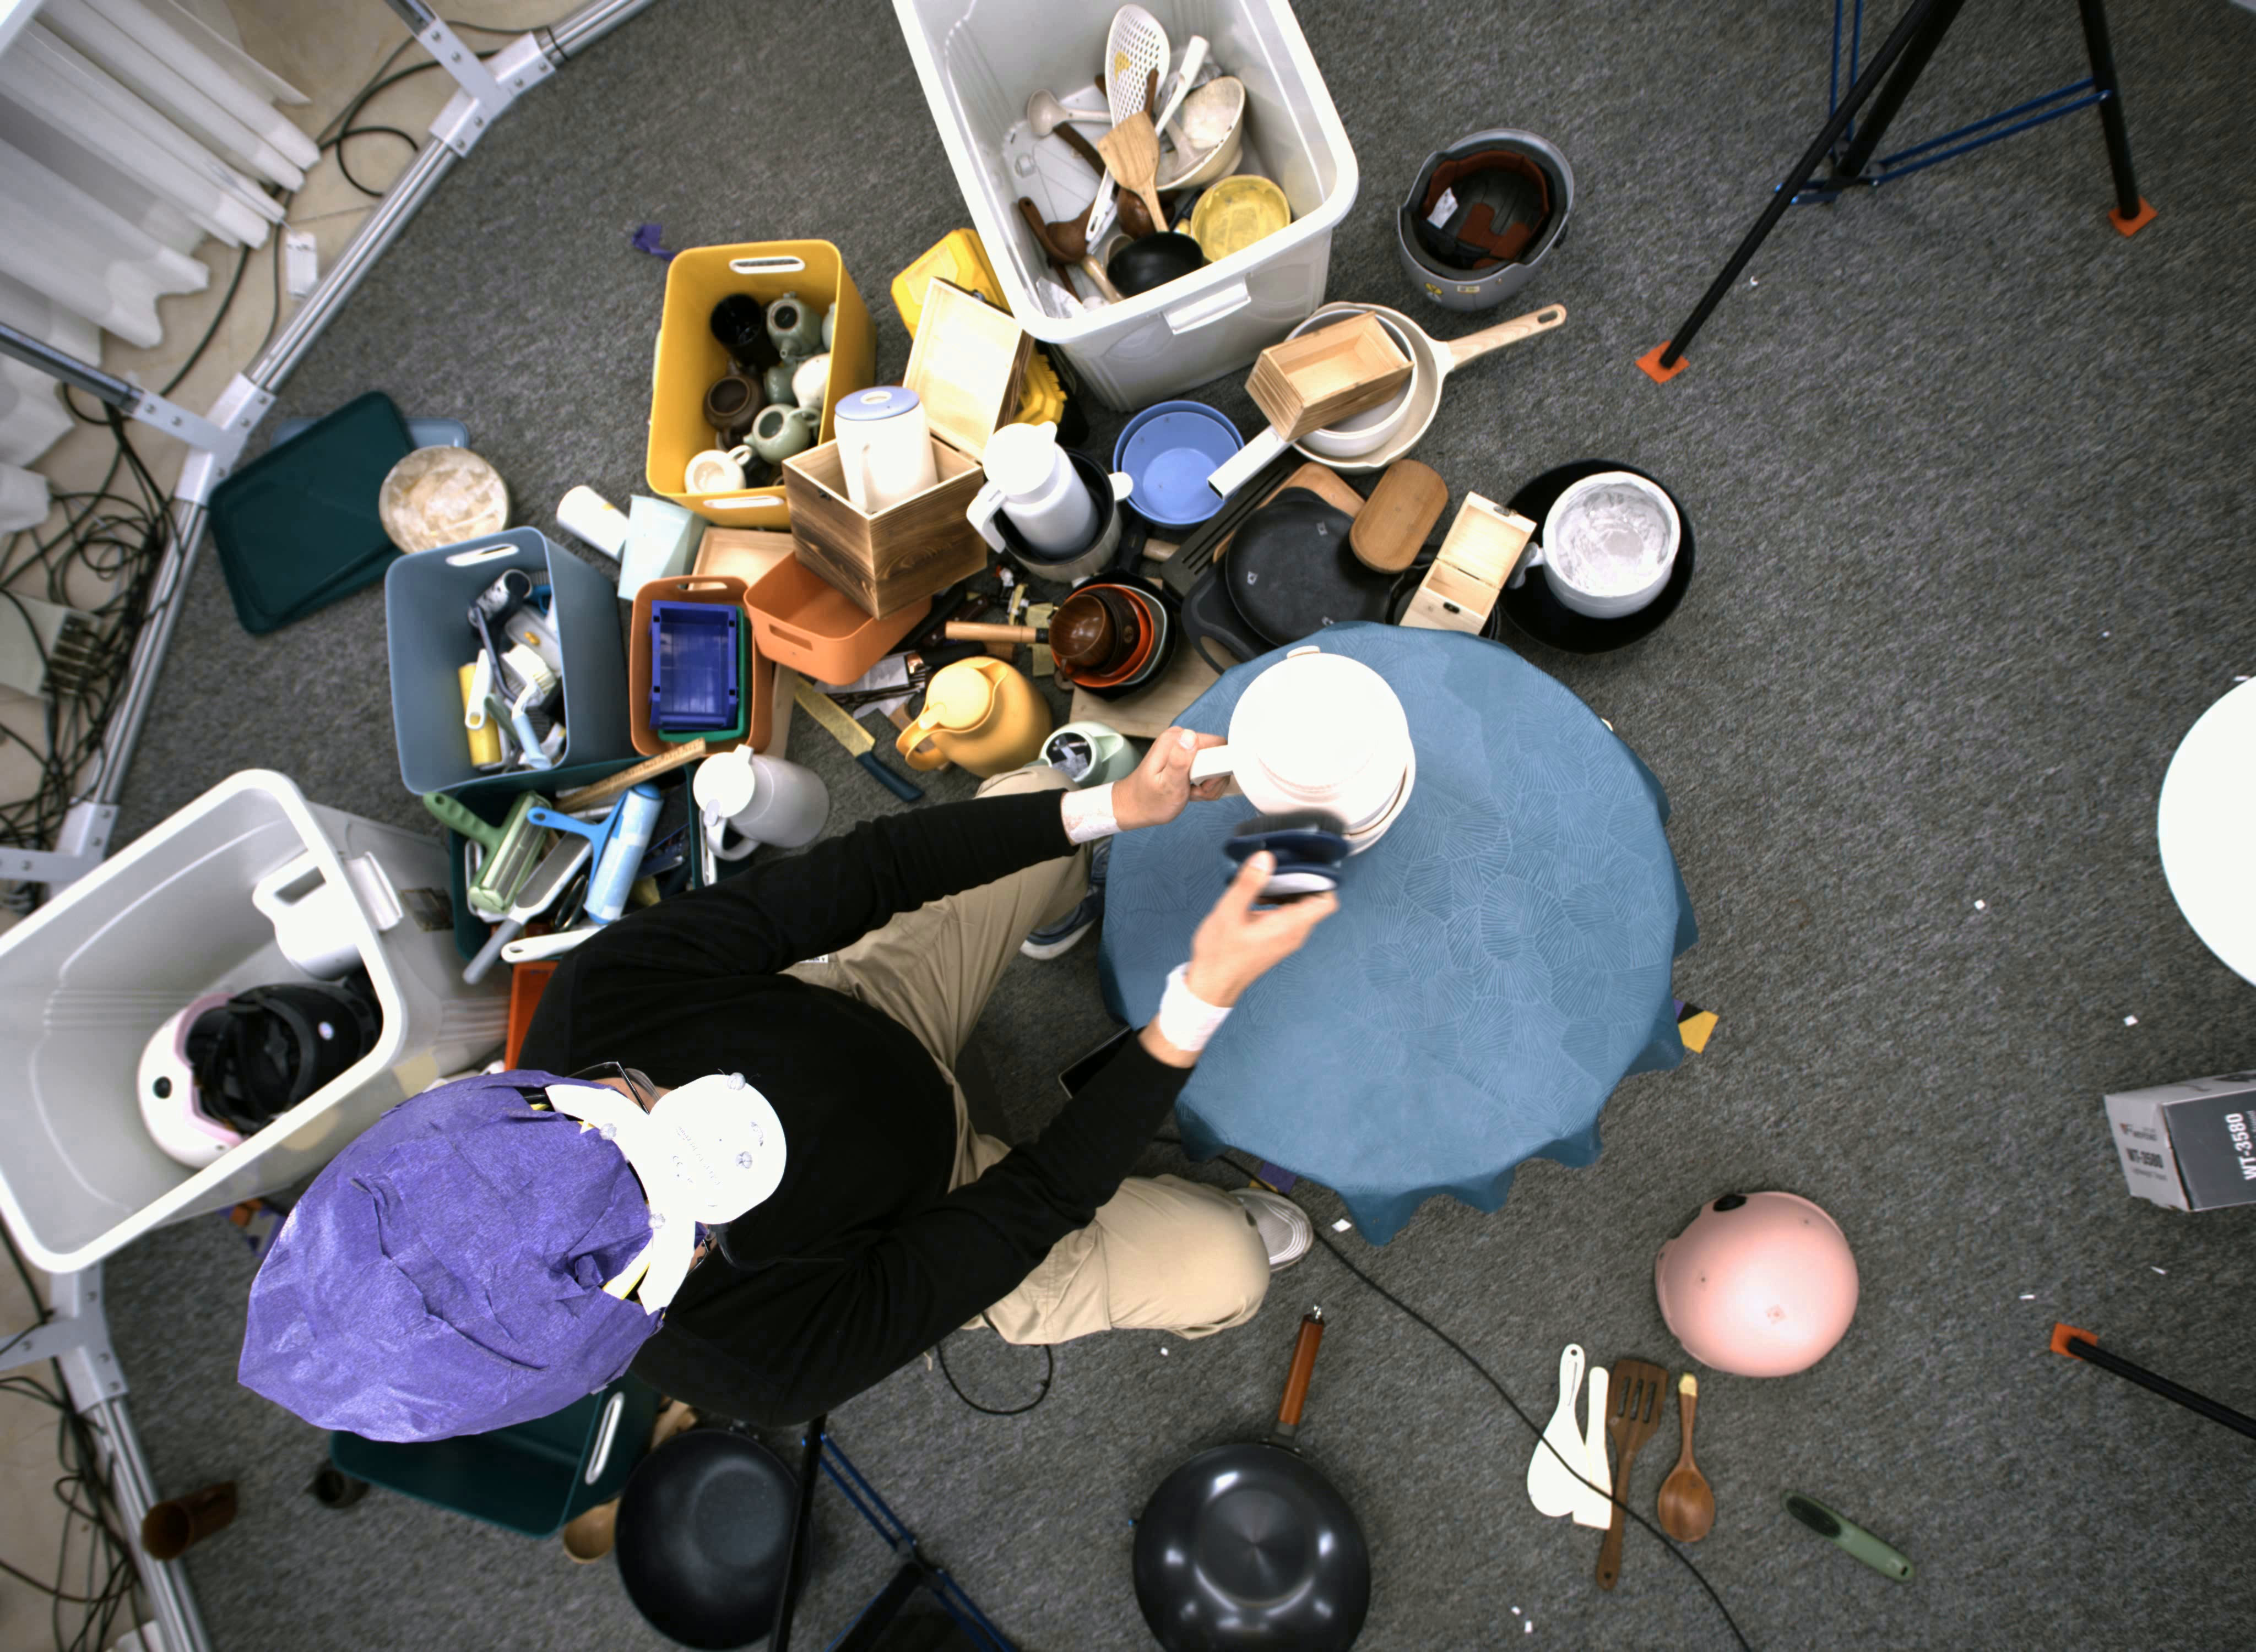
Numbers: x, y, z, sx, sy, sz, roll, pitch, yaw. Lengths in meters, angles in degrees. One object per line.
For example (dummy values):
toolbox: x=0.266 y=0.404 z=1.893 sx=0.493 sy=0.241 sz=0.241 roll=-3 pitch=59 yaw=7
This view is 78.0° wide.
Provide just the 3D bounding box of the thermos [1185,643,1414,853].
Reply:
thermos: x=0.164 y=-0.065 z=1.286 sx=0.208 sy=0.406 sz=0.174 roll=-10 pitch=84 yaw=8

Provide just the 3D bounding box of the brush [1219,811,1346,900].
brush: x=0.132 y=0.024 z=1.193 sx=0.123 sy=0.068 sz=0.060 roll=-9 pitch=62 yaw=42
